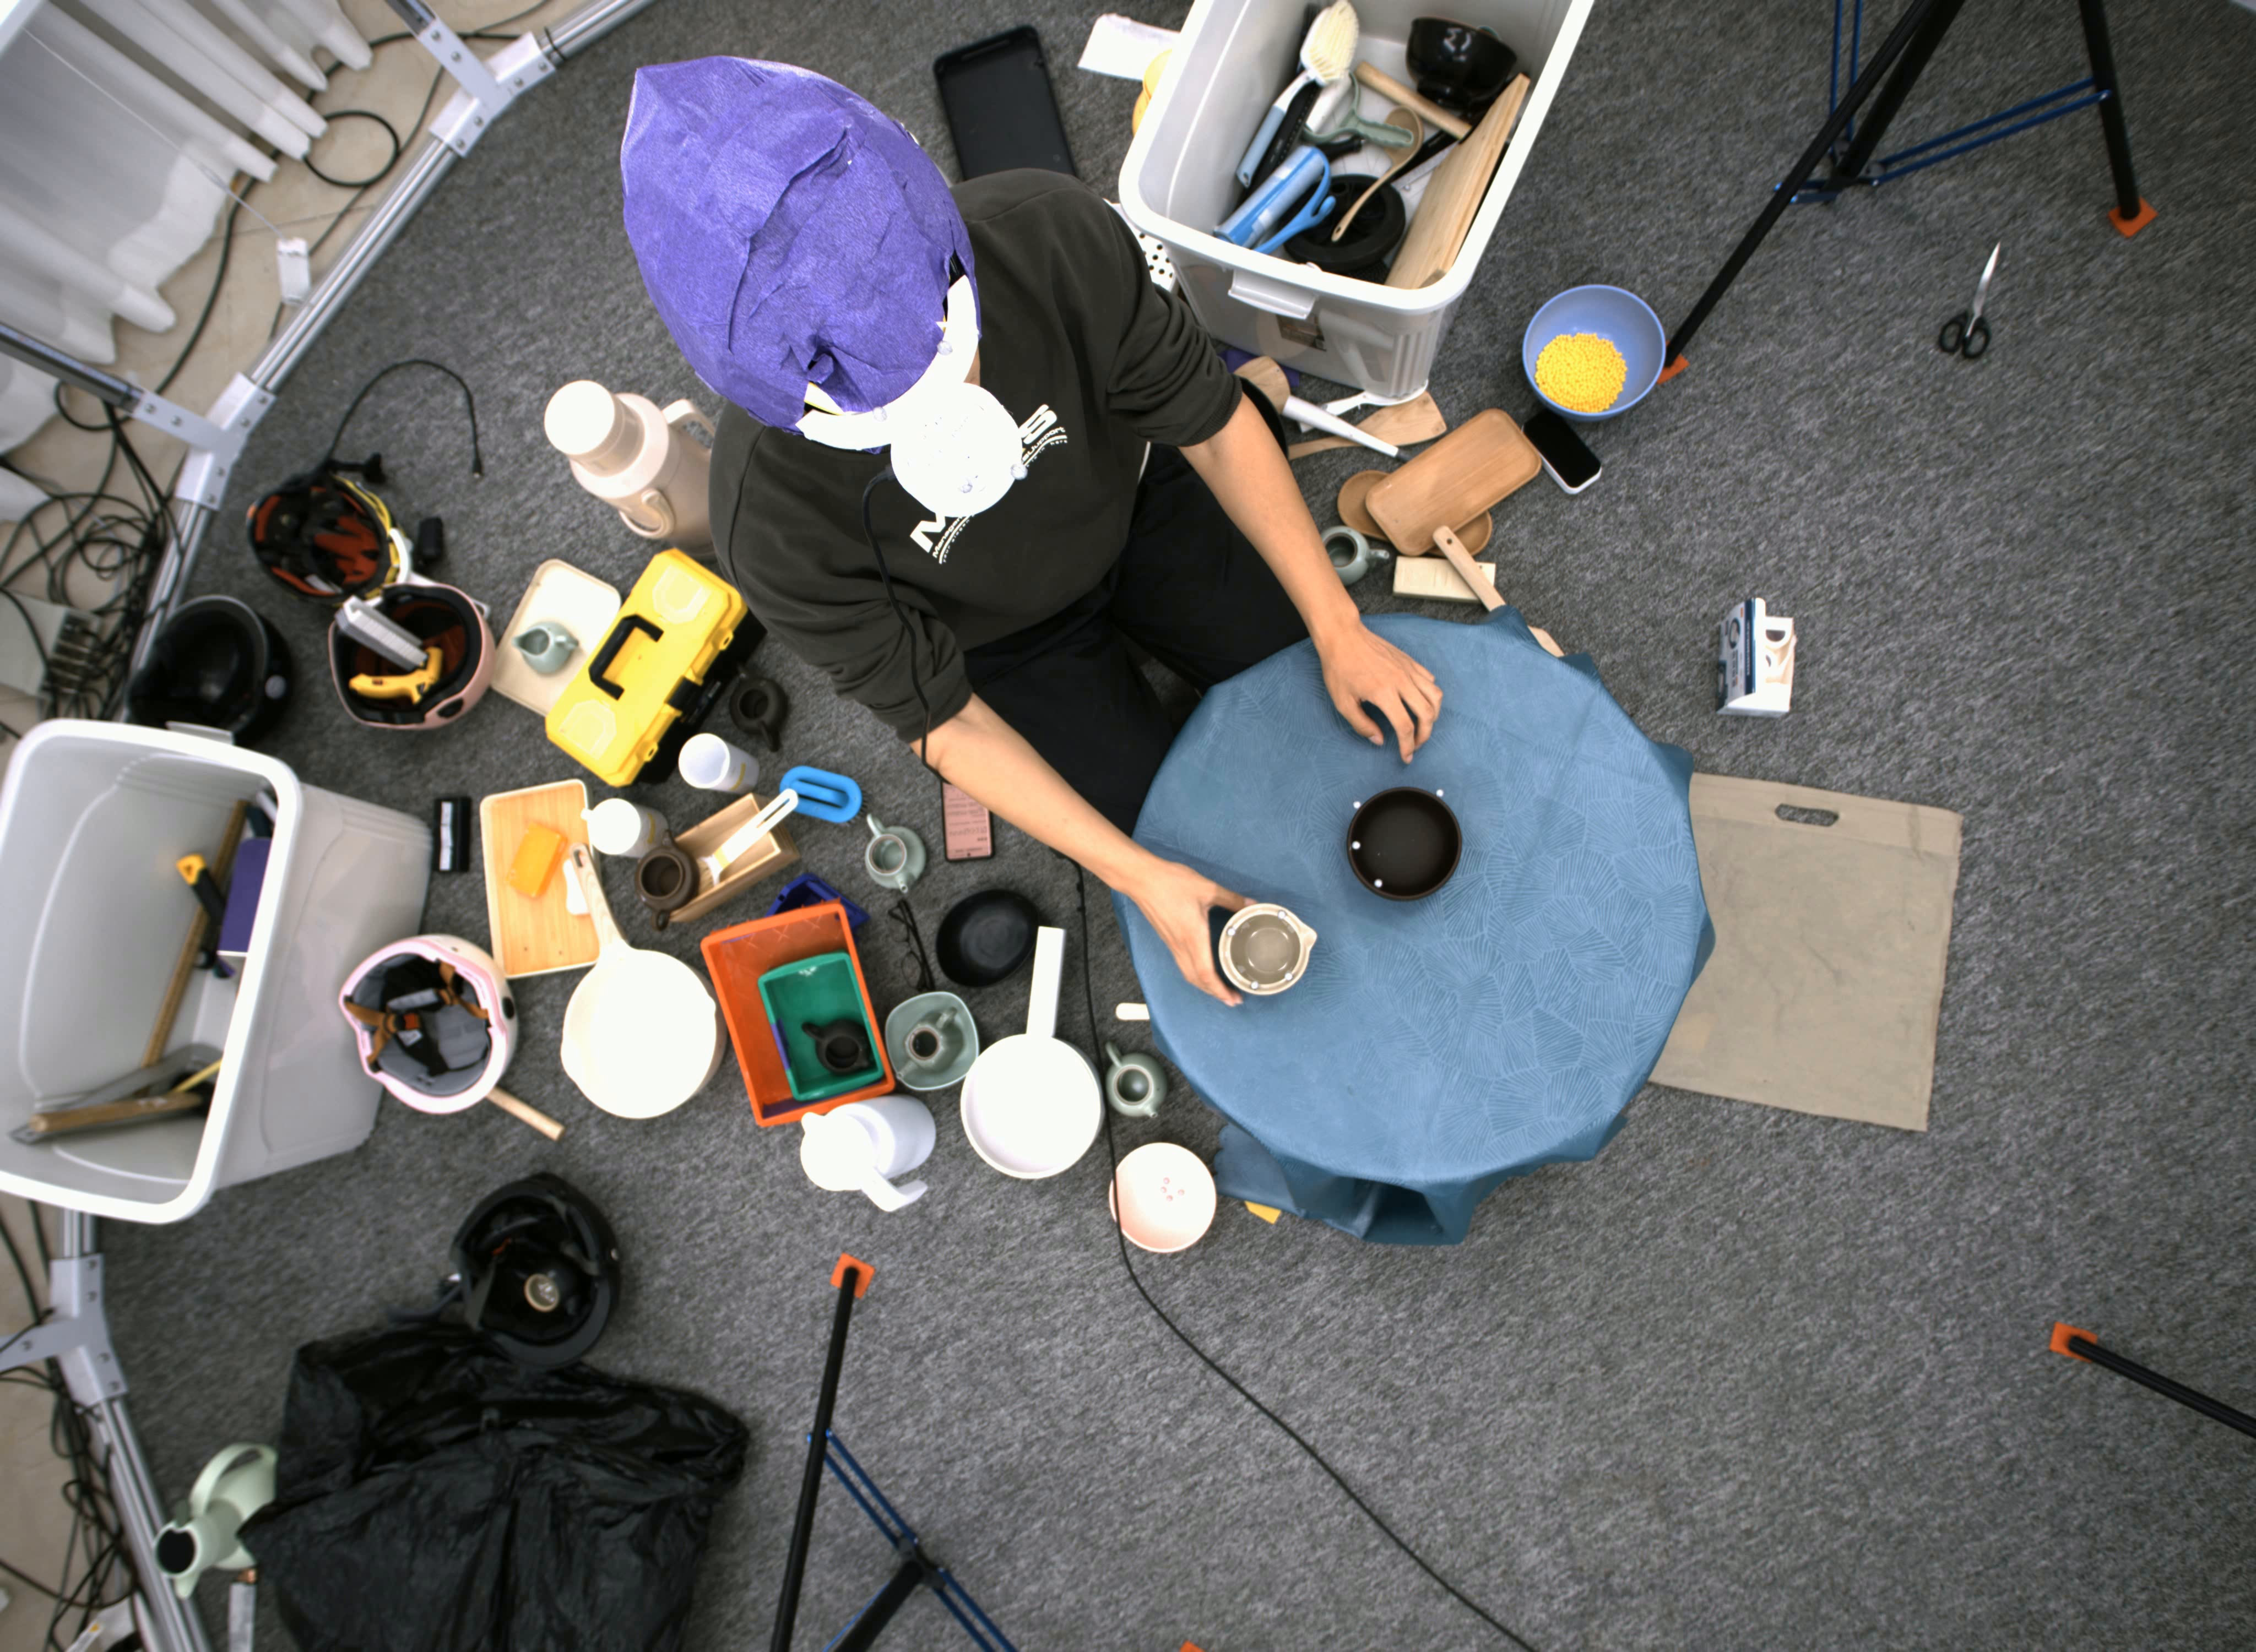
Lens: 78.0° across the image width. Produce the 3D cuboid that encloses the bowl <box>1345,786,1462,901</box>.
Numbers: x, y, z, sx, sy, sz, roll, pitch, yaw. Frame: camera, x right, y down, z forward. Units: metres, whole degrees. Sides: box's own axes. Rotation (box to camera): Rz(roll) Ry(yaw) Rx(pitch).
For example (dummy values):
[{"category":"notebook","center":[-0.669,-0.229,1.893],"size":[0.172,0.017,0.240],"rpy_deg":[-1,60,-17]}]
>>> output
[{"category":"bowl","center":[0.284,0.018,1.424],"size":[0.118,0.070,0.117],"rpy_deg":[0,88,10]}]

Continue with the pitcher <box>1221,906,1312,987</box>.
[{"category":"pitcher","center":[0.146,0.124,1.442],"size":[0.096,0.071,0.083],"rpy_deg":[-11,82,10]}]
